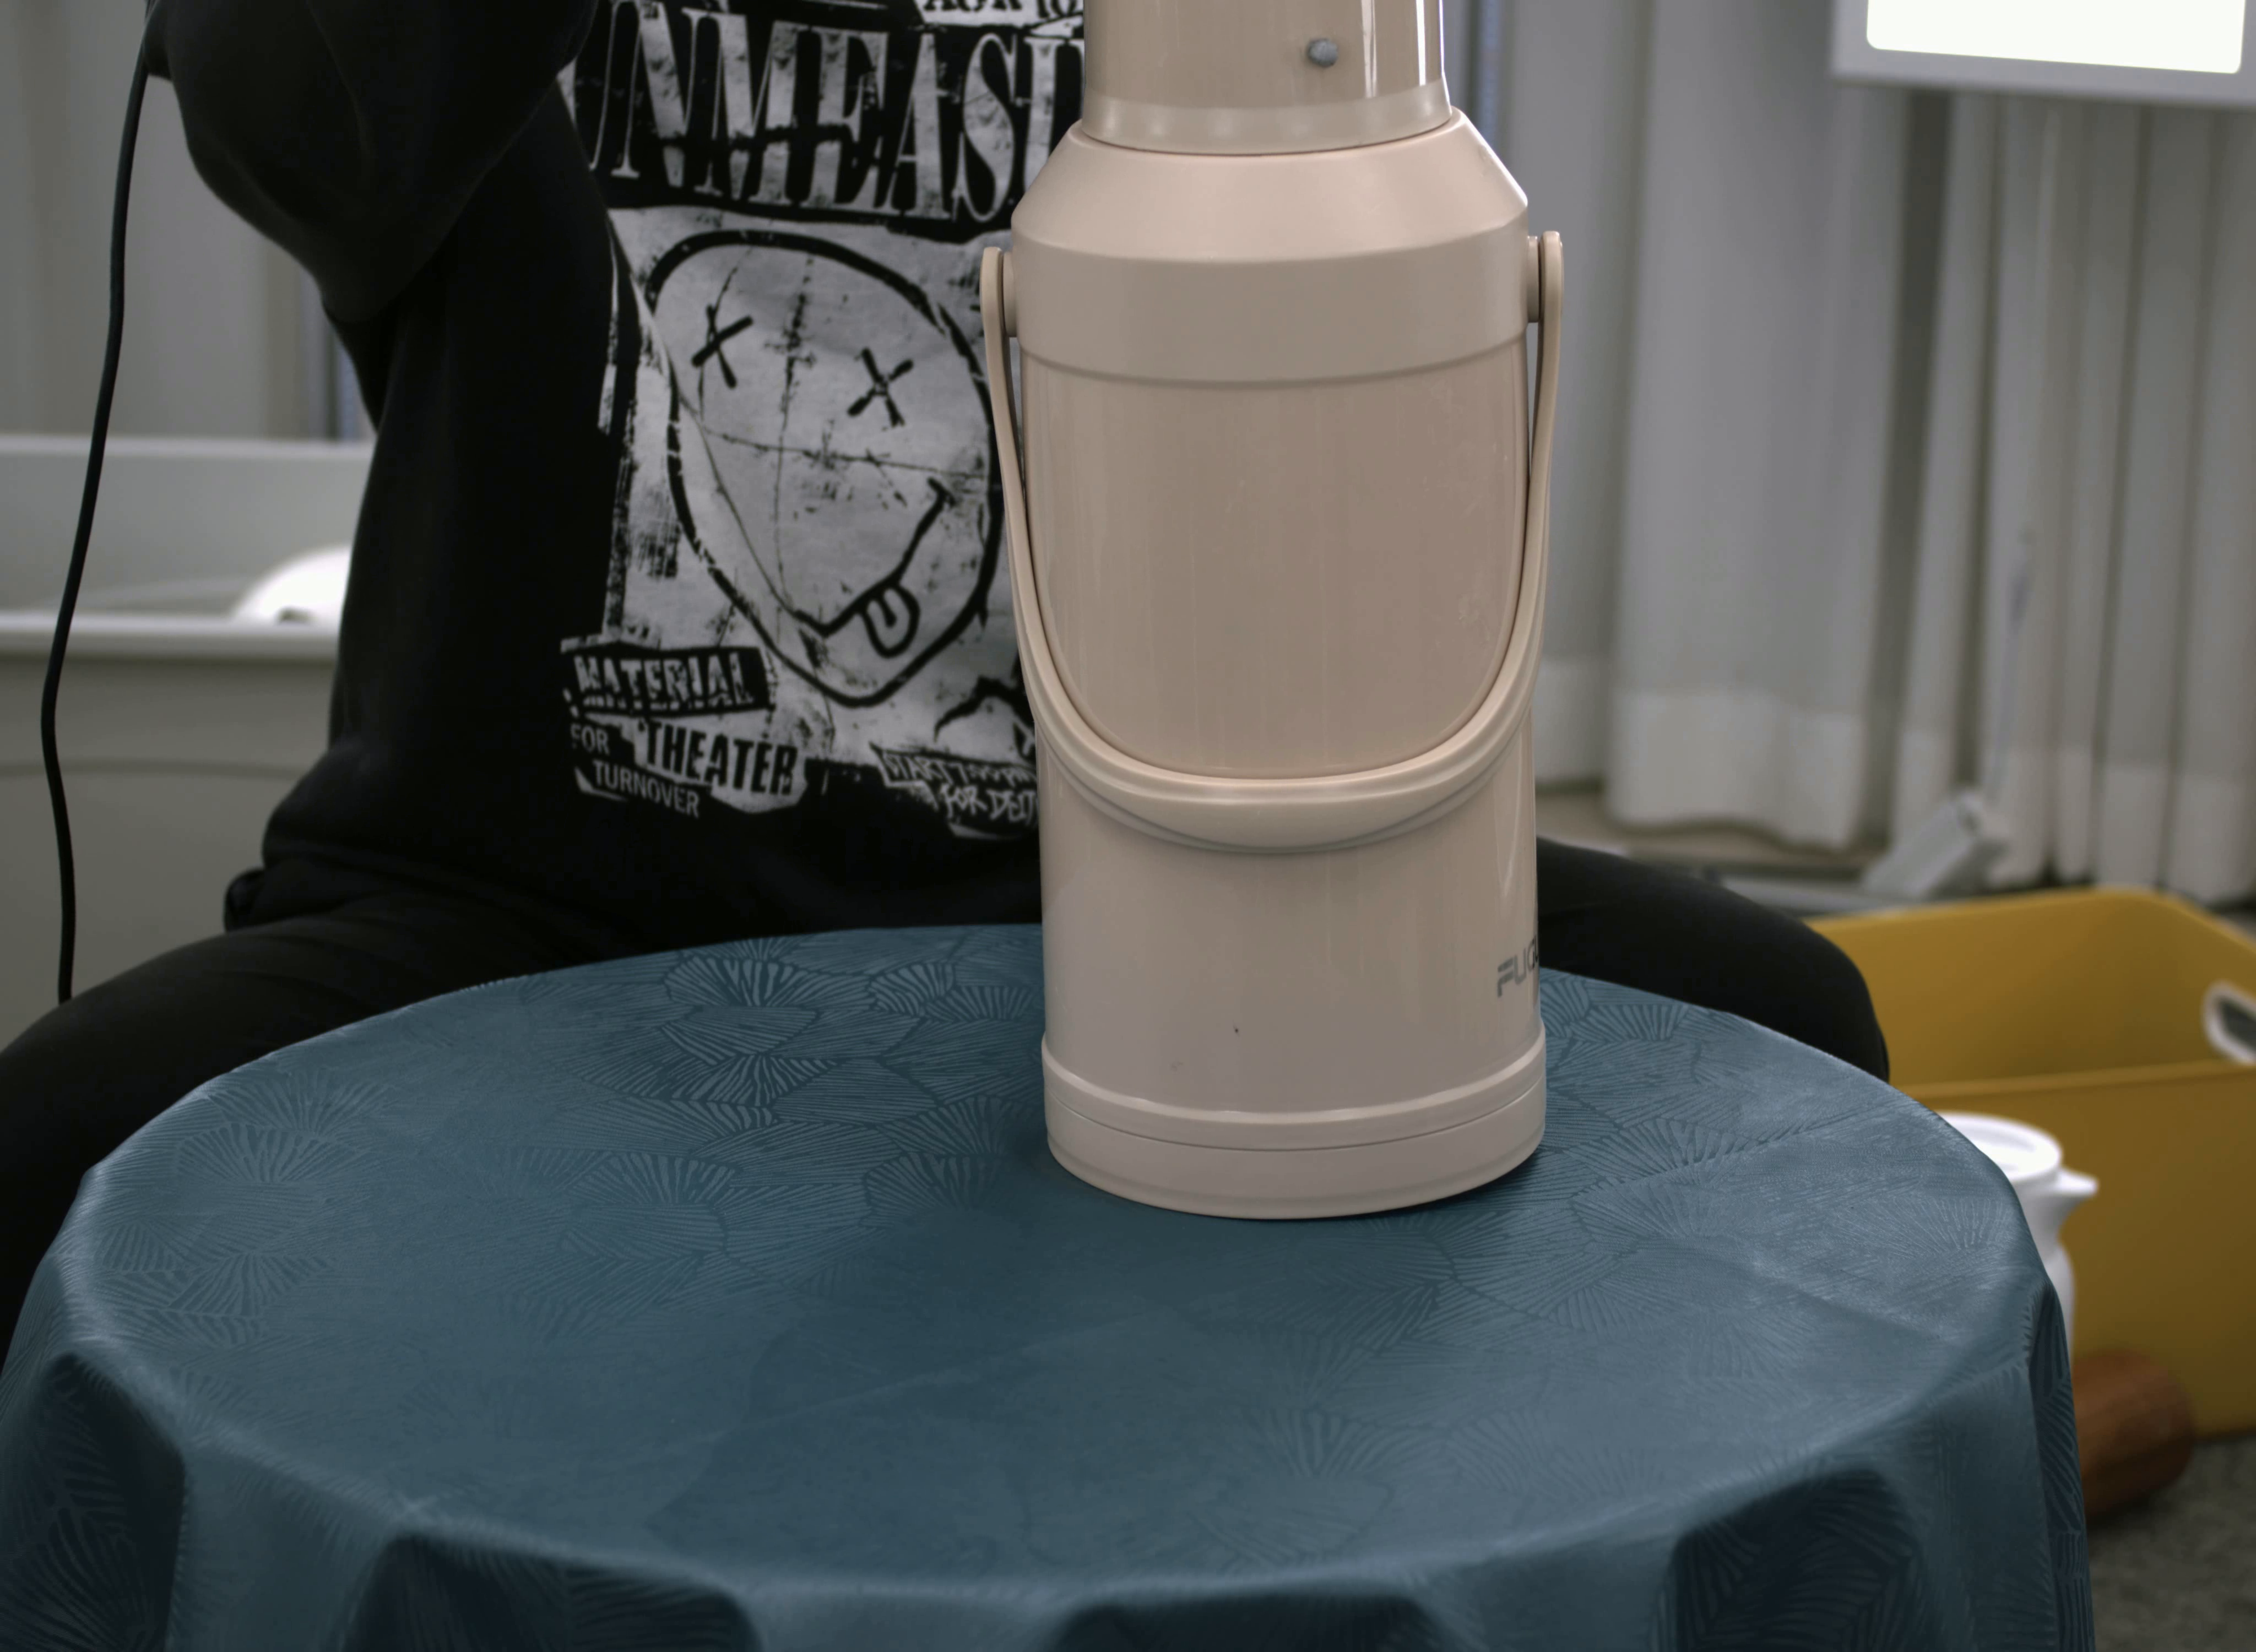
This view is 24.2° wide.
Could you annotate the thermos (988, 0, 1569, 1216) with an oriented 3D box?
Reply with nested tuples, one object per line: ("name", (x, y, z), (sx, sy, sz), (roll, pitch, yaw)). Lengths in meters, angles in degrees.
("thermos", (0.051, -0.098, 1.625), (0.174, 0.410, 0.206), (-3, 18, 2))
